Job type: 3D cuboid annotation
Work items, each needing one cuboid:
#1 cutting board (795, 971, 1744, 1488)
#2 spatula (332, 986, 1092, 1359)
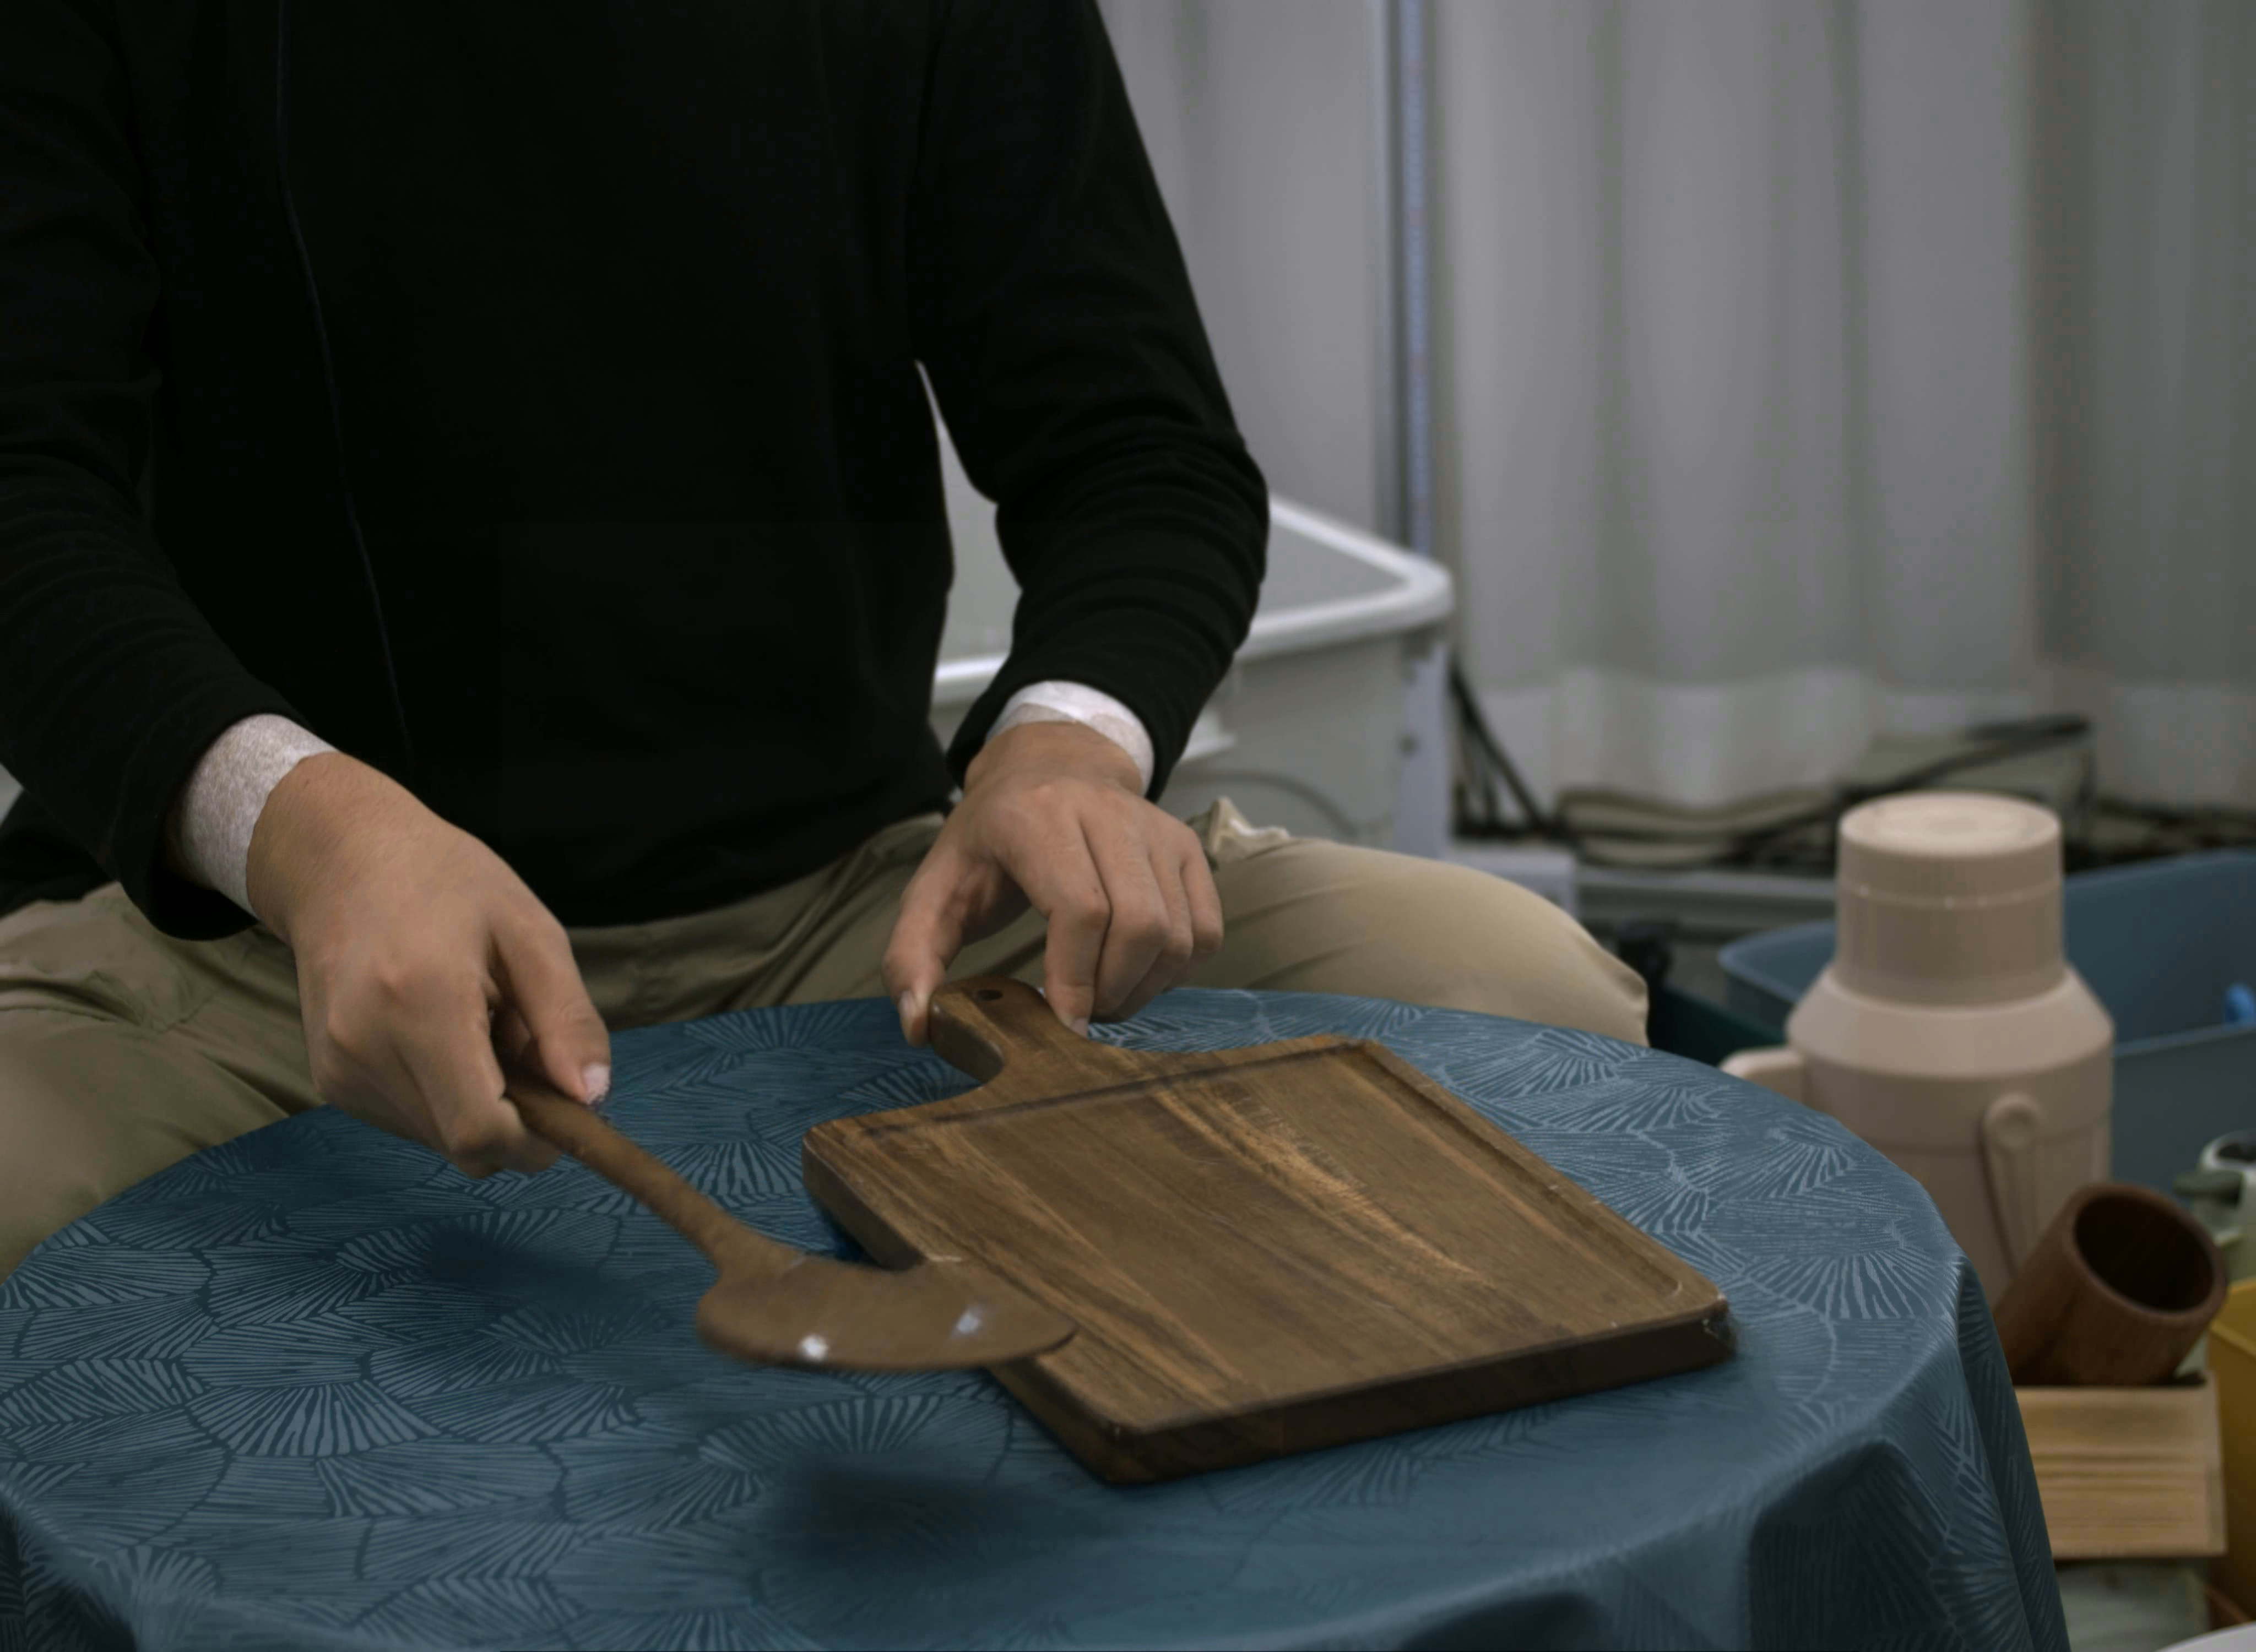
[{"bbox_3d":[0.016,0.107,1.655,0.200,0.023,0.355,-9,20,-22],"label":"cutting board"},{"bbox_3d":[-0.142,0.095,1.575,0.095,0.016,0.389,-2,14,-32],"label":"spatula"}]
